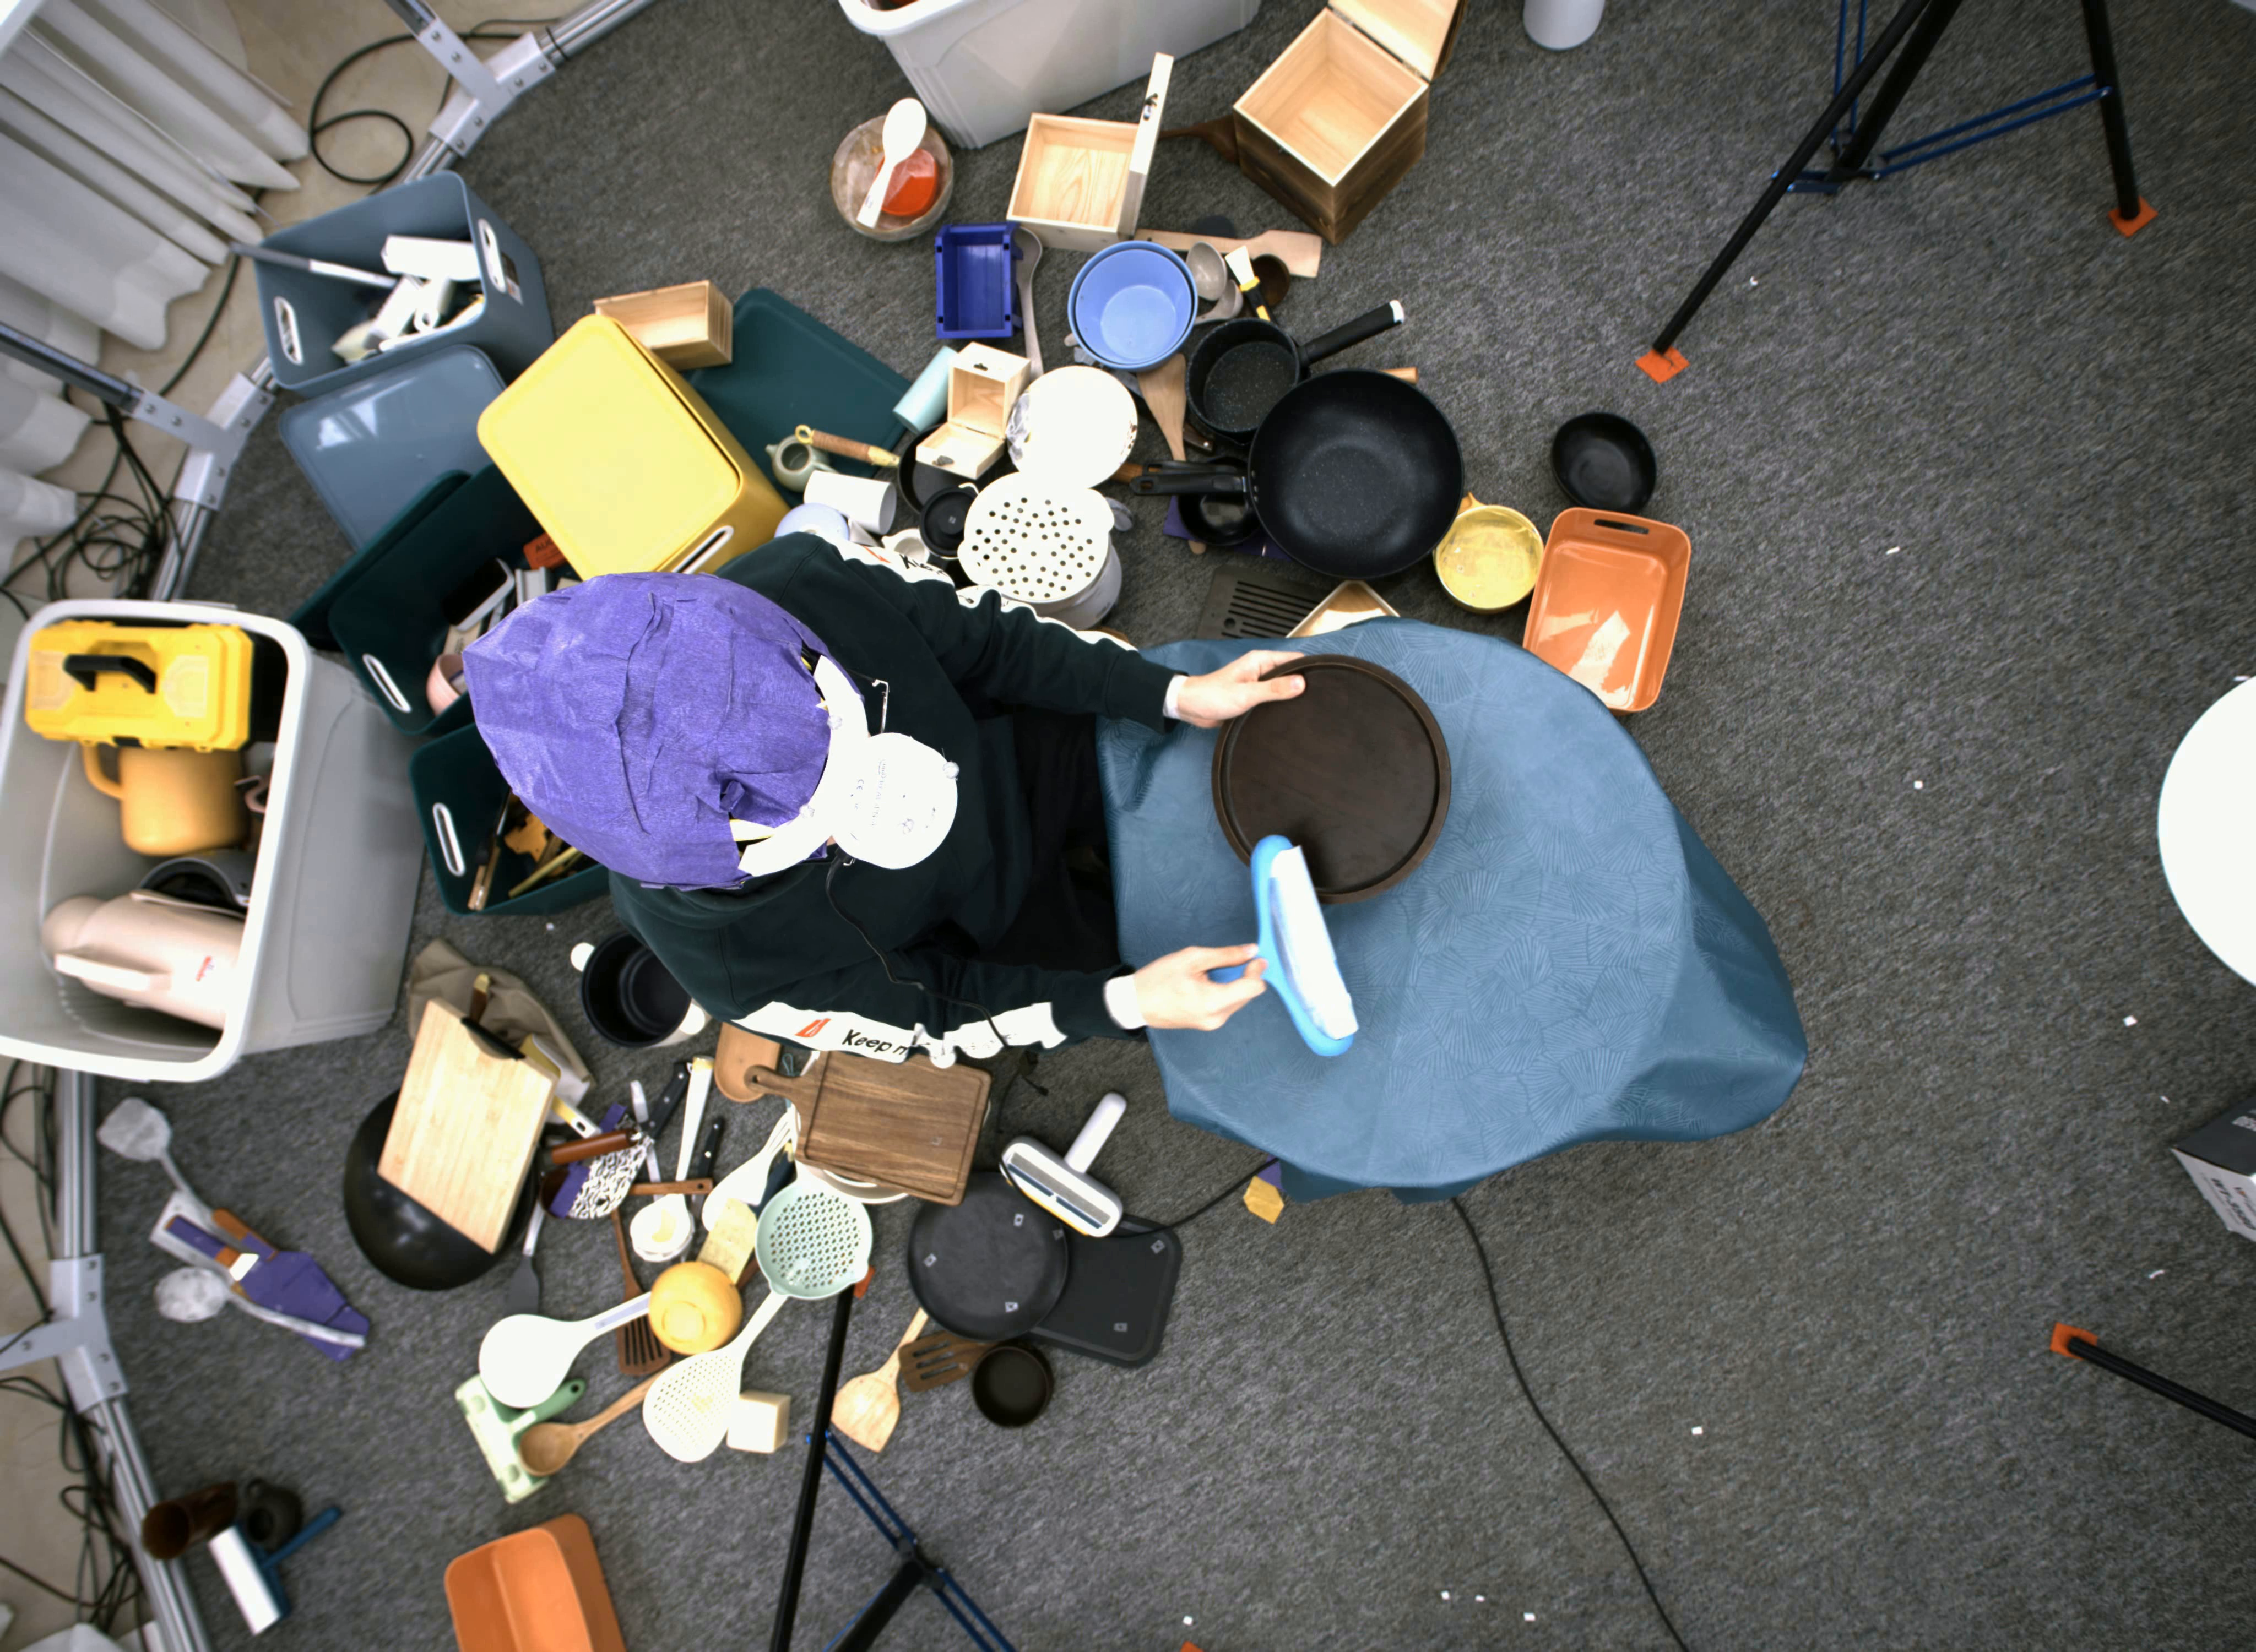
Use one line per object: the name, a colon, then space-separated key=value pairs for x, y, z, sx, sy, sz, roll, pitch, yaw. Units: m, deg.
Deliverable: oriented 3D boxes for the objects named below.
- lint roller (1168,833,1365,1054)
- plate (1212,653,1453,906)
lint roller: x=0.130 y=0.136 z=1.362 sx=0.178 sy=0.068 sz=0.229 roll=-21 pitch=95 yaw=-20
plate: x=0.202 y=-0.047 z=1.385 sx=0.256 sy=0.028 sz=0.256 roll=4 pitch=100 yaw=26
